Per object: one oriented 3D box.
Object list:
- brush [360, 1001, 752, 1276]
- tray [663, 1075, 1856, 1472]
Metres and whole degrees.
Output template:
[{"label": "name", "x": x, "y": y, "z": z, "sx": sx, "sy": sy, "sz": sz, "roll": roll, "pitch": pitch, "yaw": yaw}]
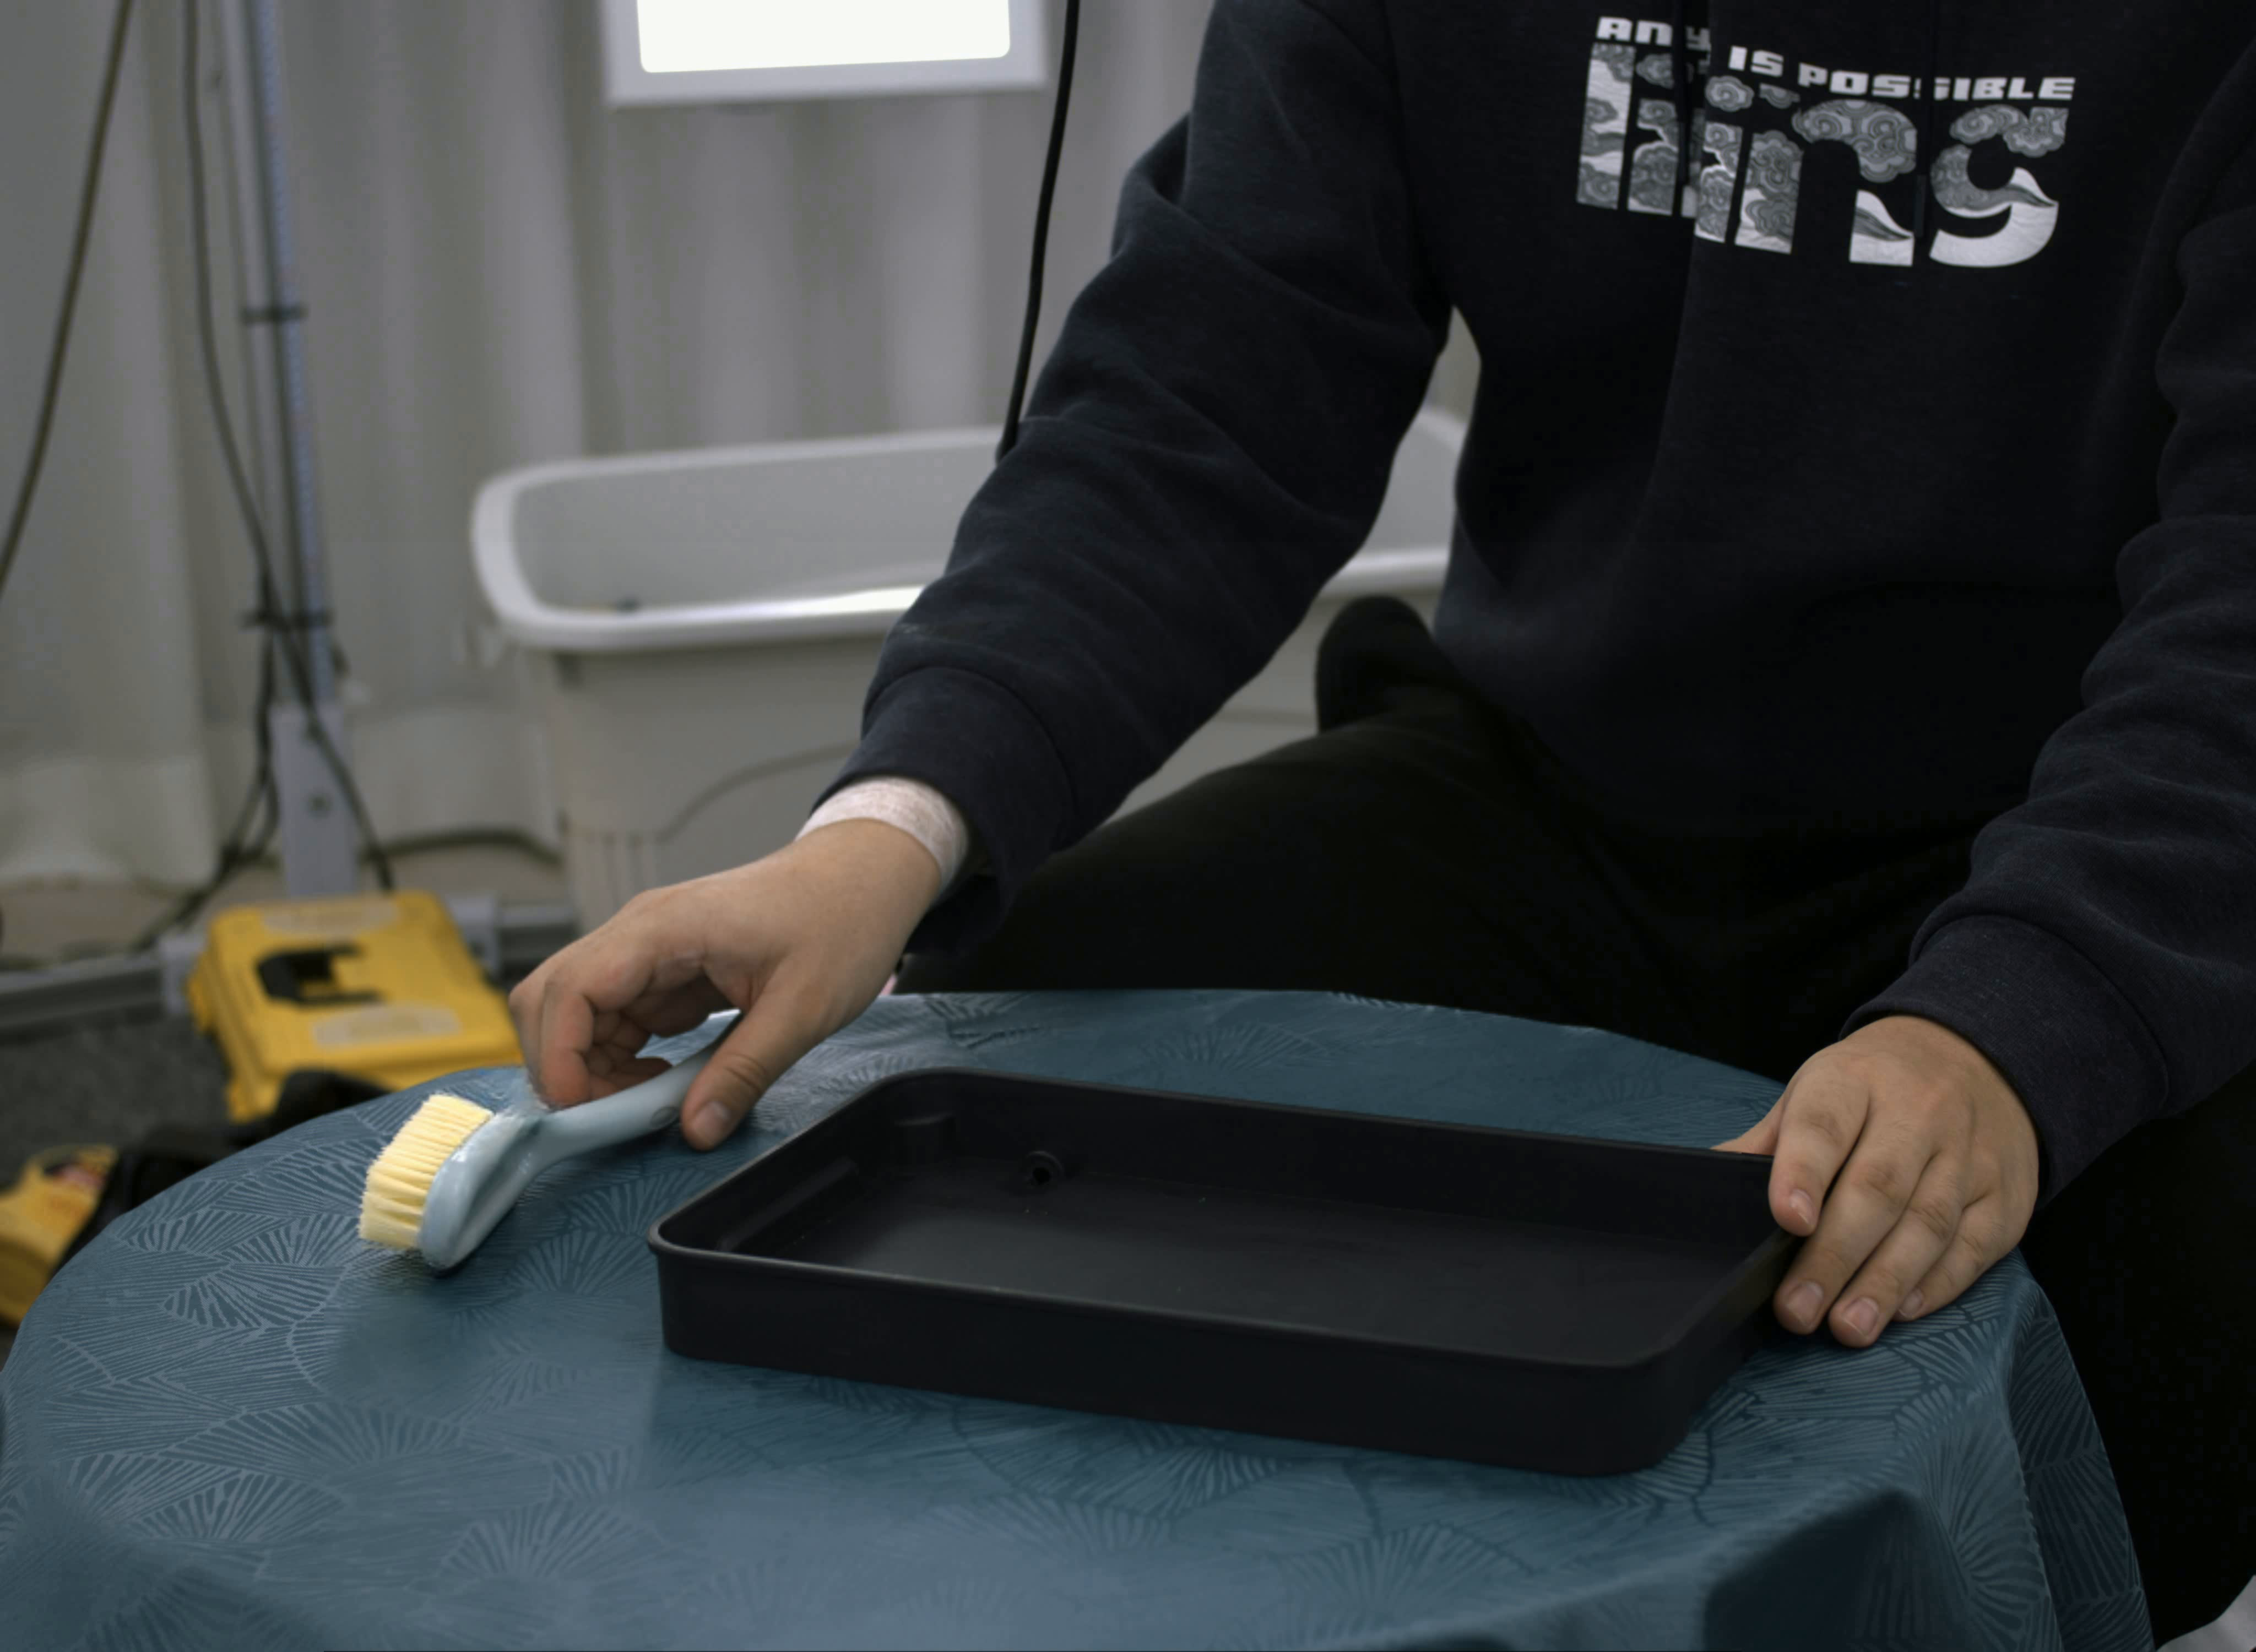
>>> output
[{"label": "brush", "x": -0.181, "y": 0.093, "z": 1.758, "sx": 0.050, "sy": 0.037, "sz": 0.229, "roll": 16, "pitch": 20, "yaw": 20}, {"label": "tray", "x": 0.039, "y": 0.127, "z": 1.596, "sx": 0.318, "sy": 0.037, "sz": 0.184, "roll": 4, "pitch": 16, "yaw": 24}]
